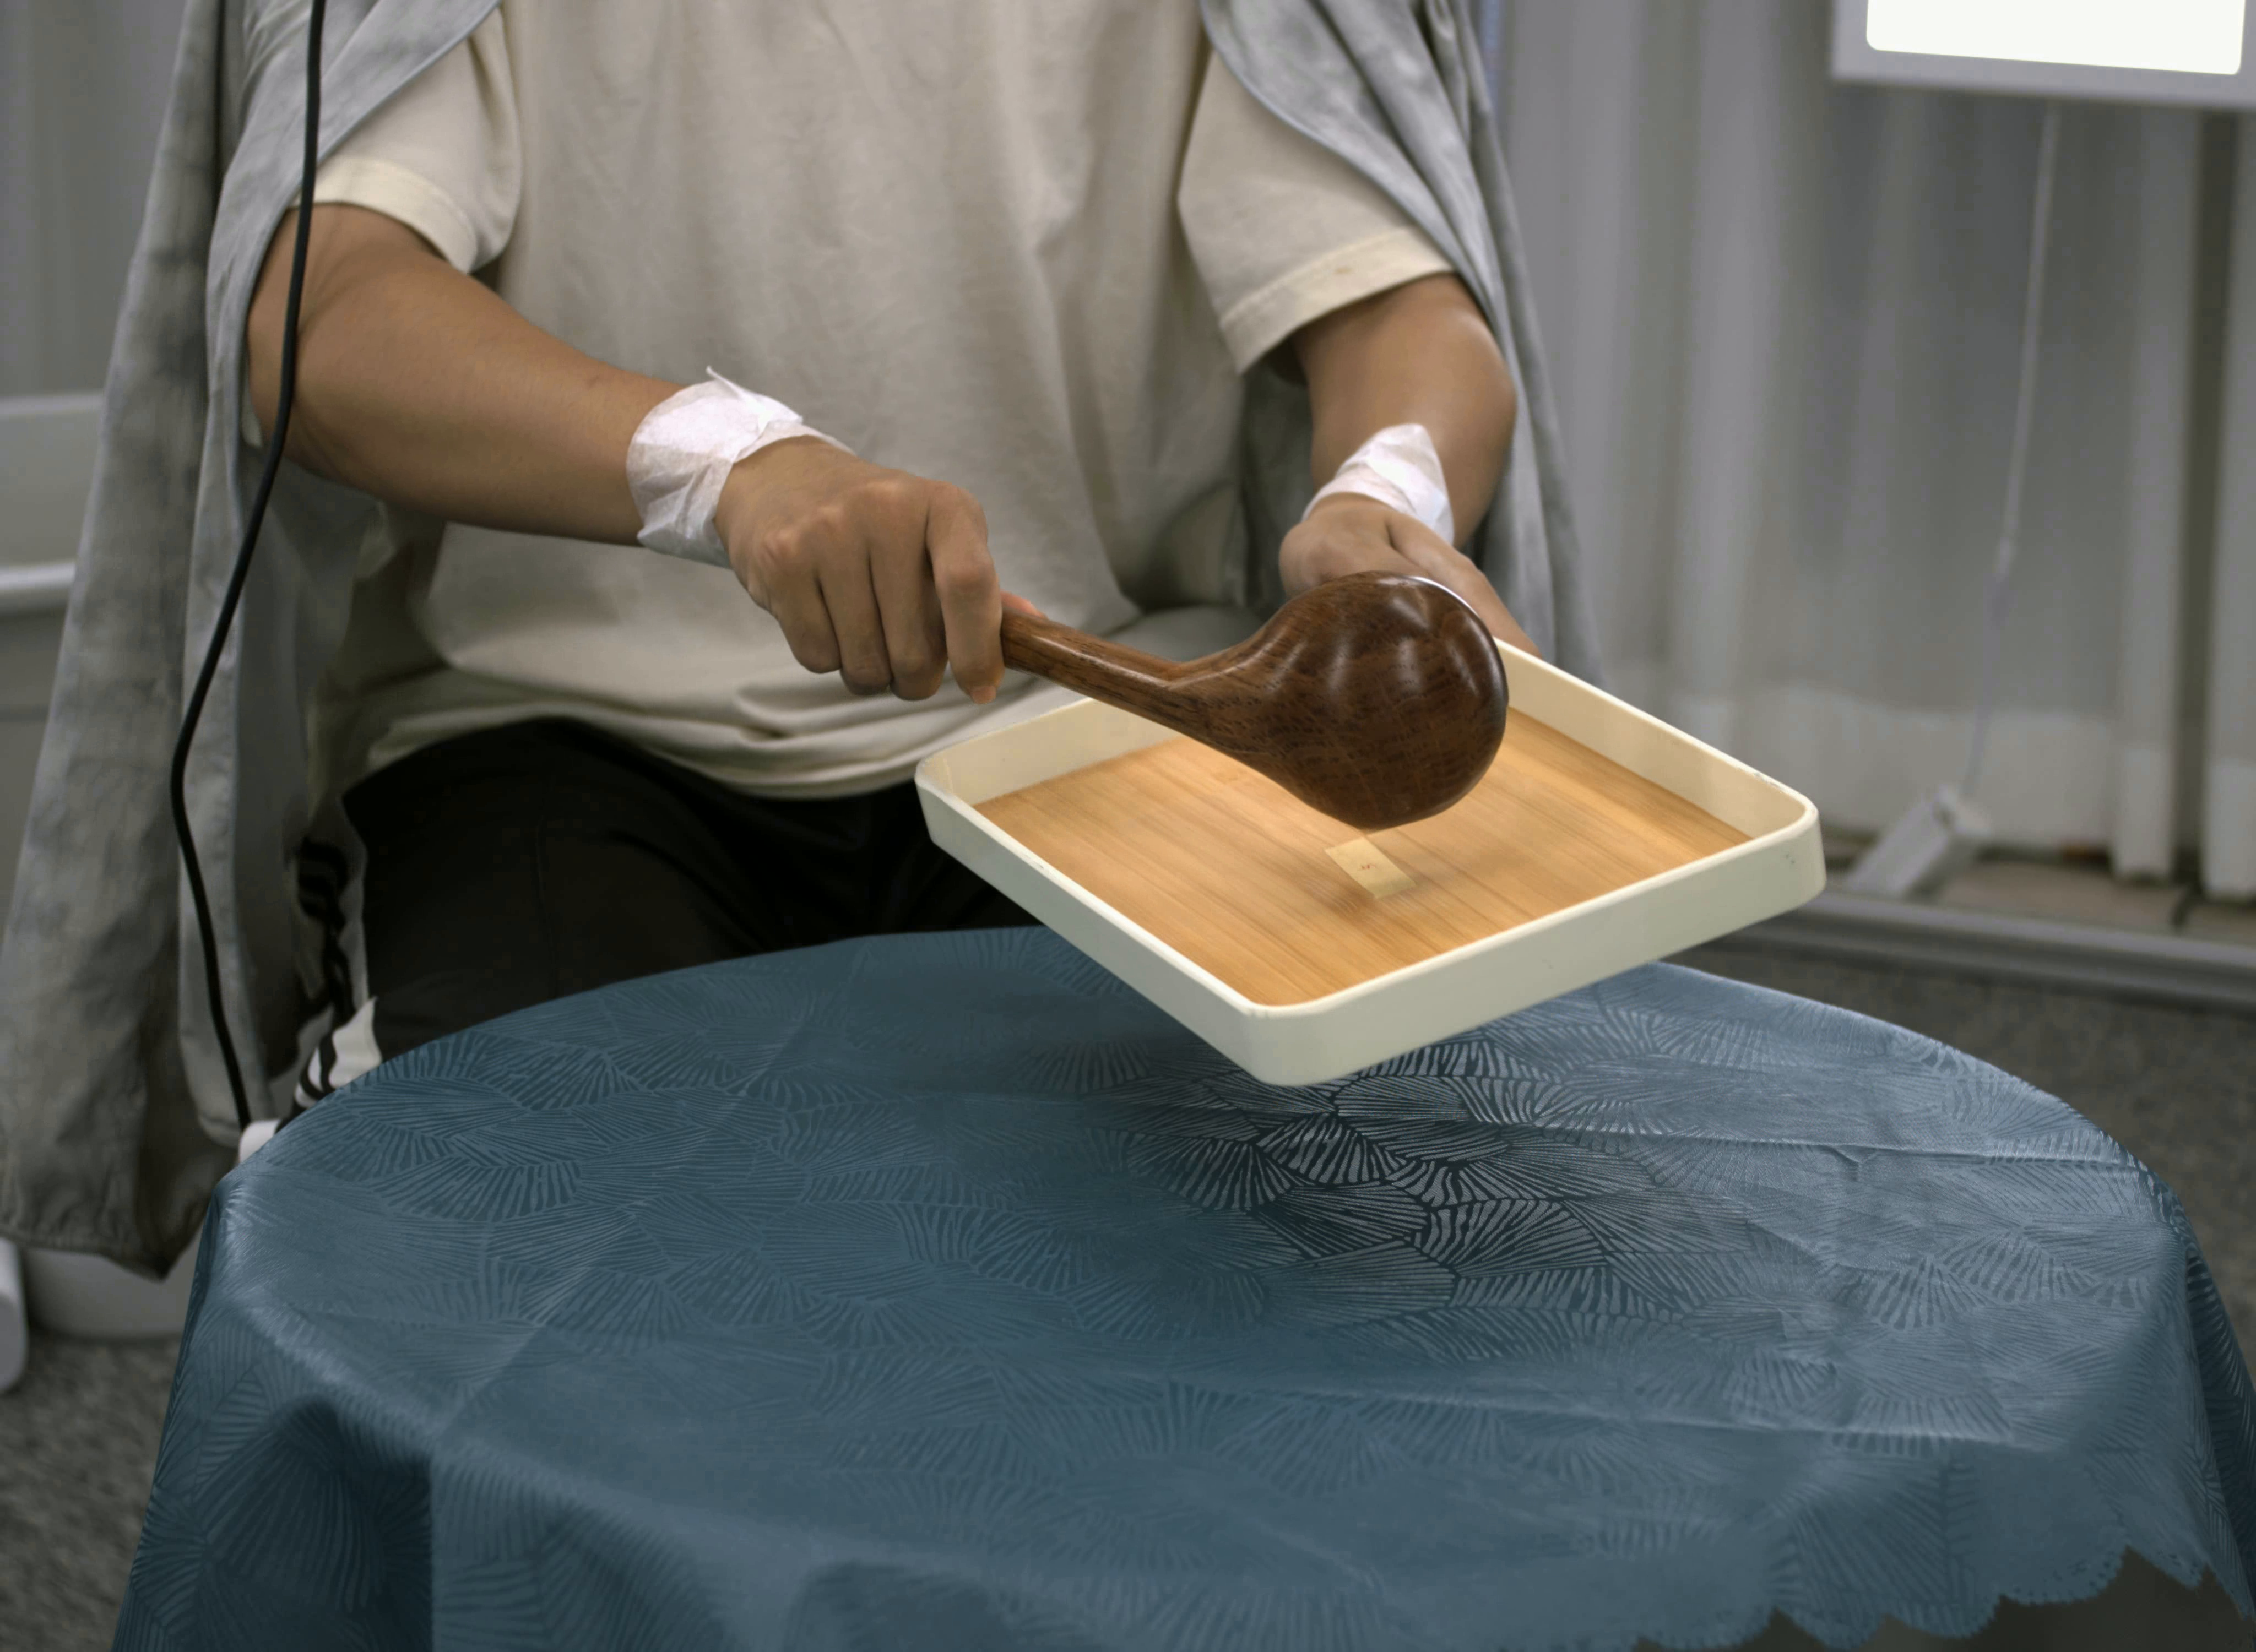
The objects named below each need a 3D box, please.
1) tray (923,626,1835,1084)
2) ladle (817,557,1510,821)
[{"bbox_3d":[0.071,-0.001,1.649,0.192,0.028,0.297,-19,22,-18],"label":"tray"},{"bbox_3d":[0.009,-0.059,1.678,0.077,0.082,0.270,-15,20,-37],"label":"ladle"}]
